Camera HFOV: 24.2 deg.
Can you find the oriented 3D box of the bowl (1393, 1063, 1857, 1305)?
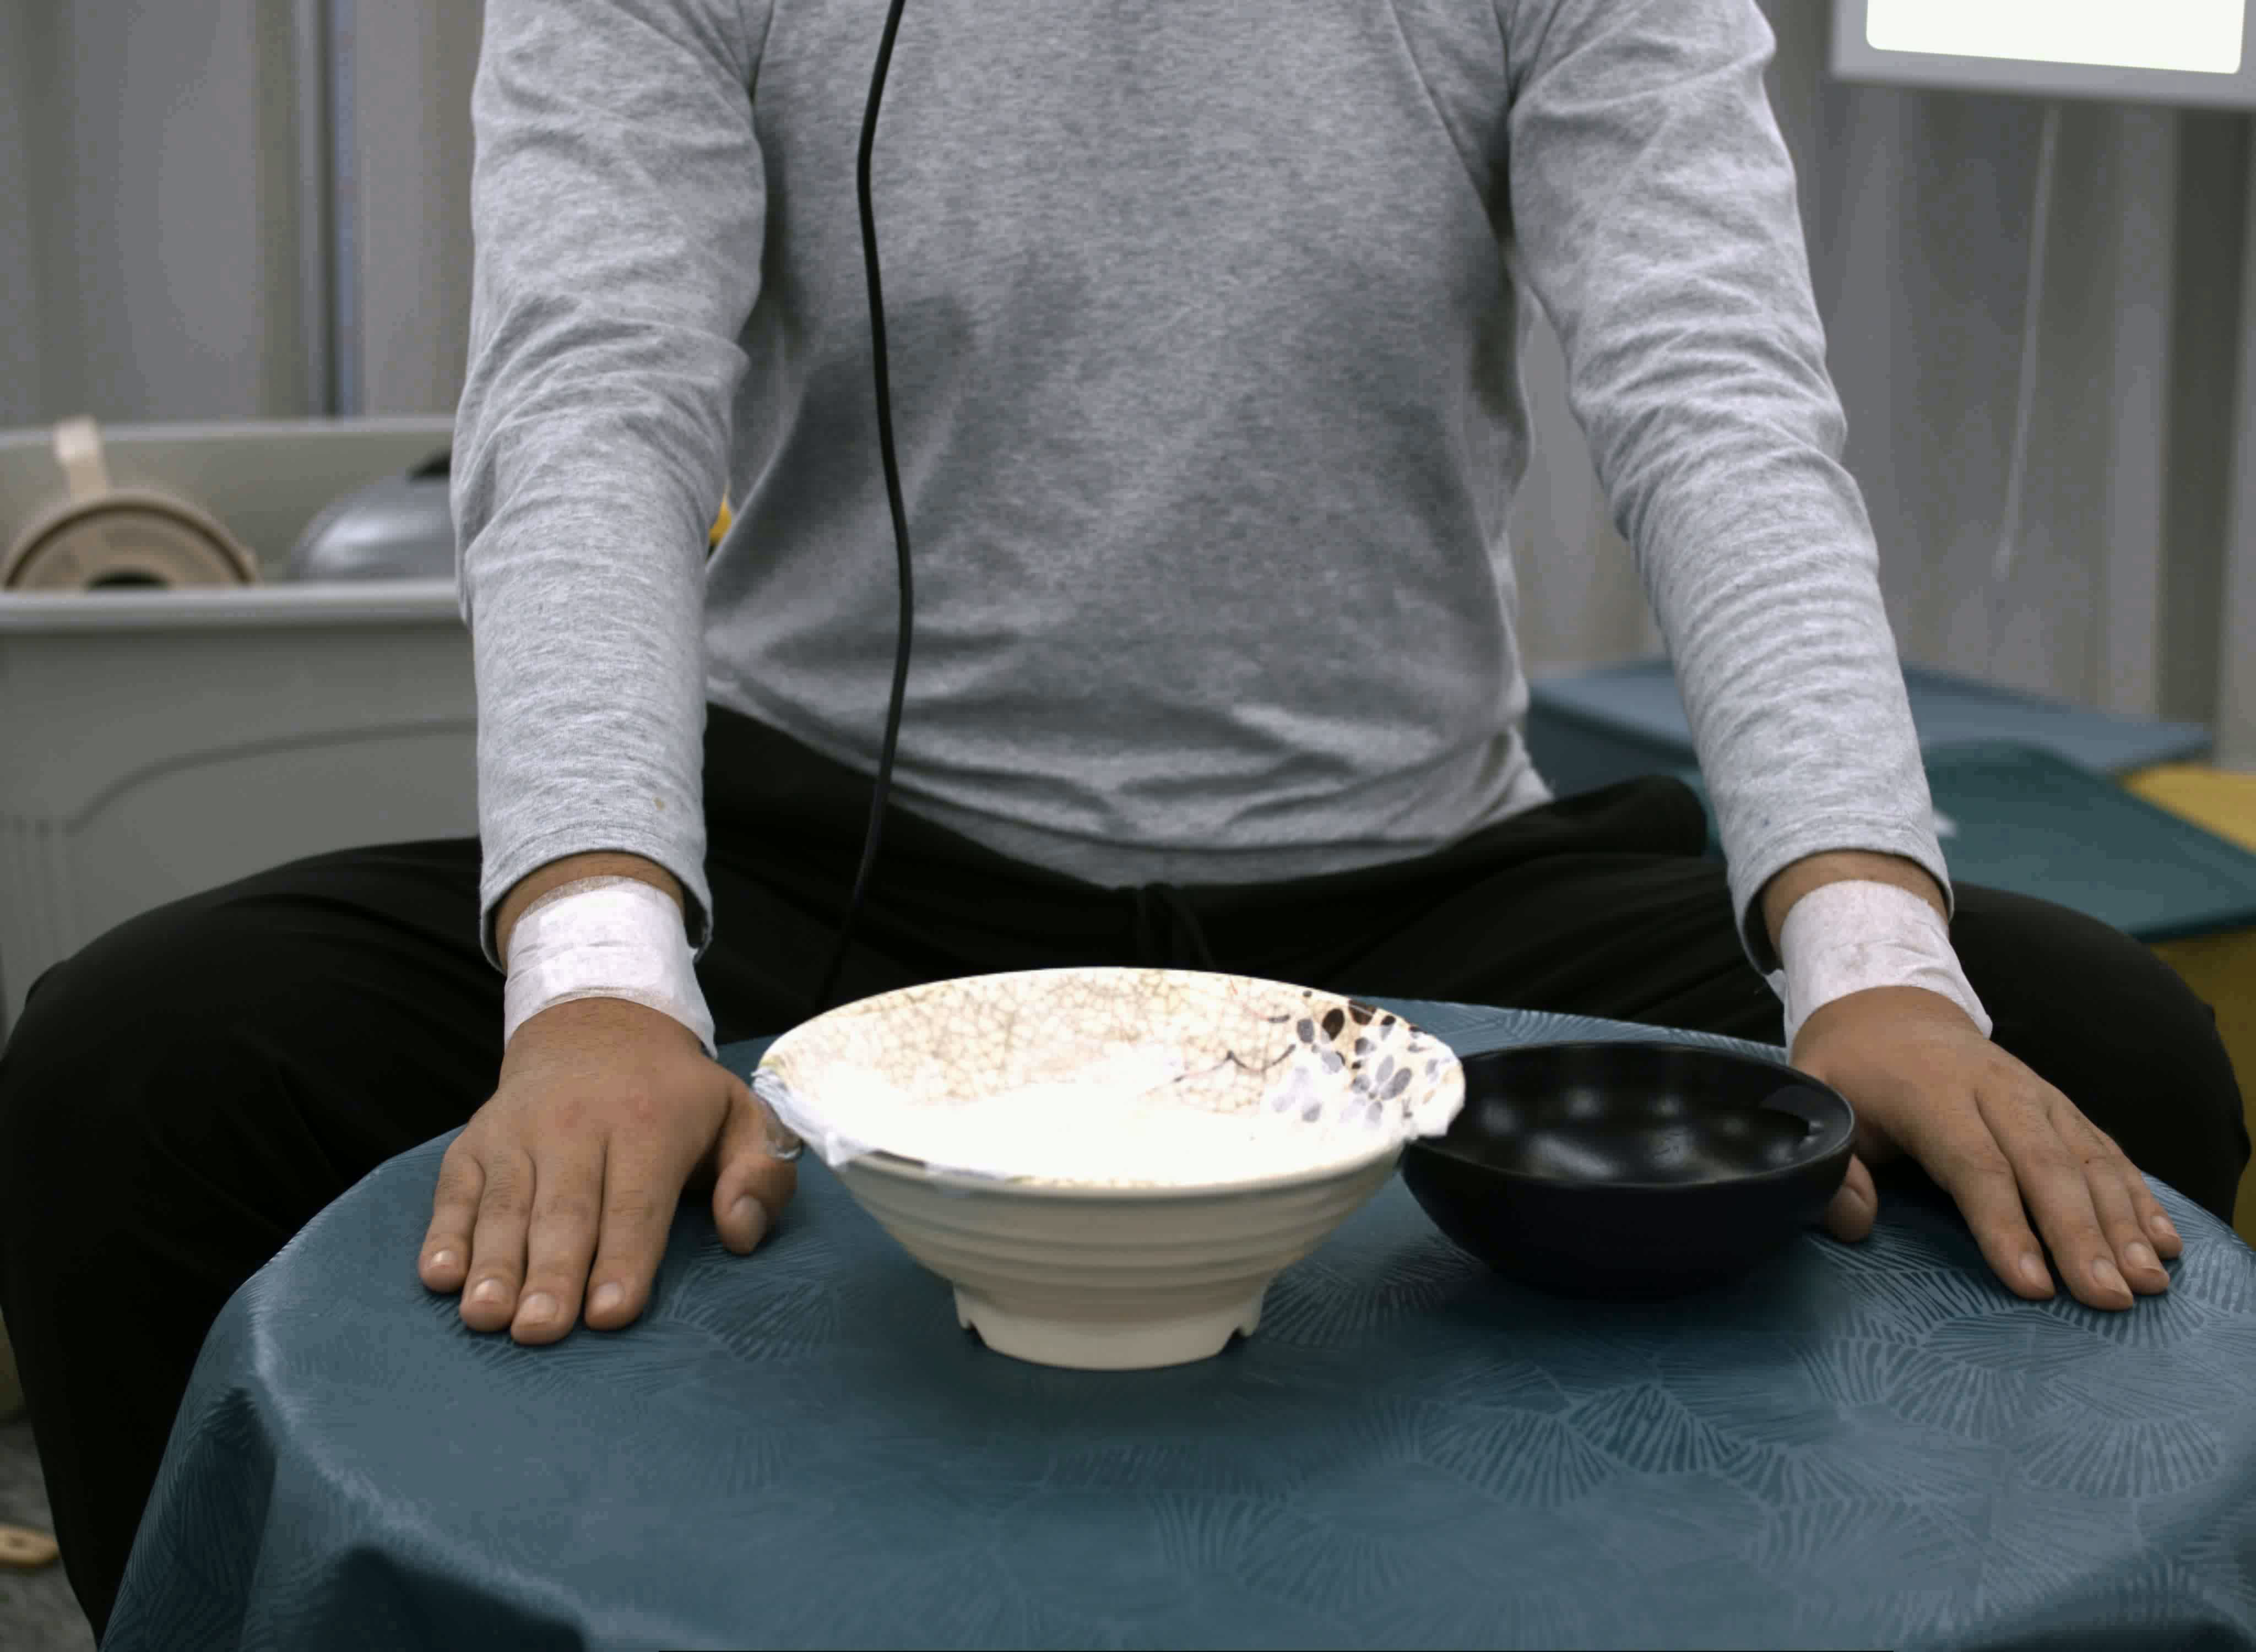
[{"bbox_3d":[0.145,0.109,1.561,0.139,0.050,0.139,2,10,0],"label":"bowl"}]

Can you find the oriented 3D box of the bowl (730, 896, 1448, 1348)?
[{"bbox_3d":[-0.013,0.094,1.500,0.203,0.078,0.202,4,22,-1],"label":"bowl"}]
